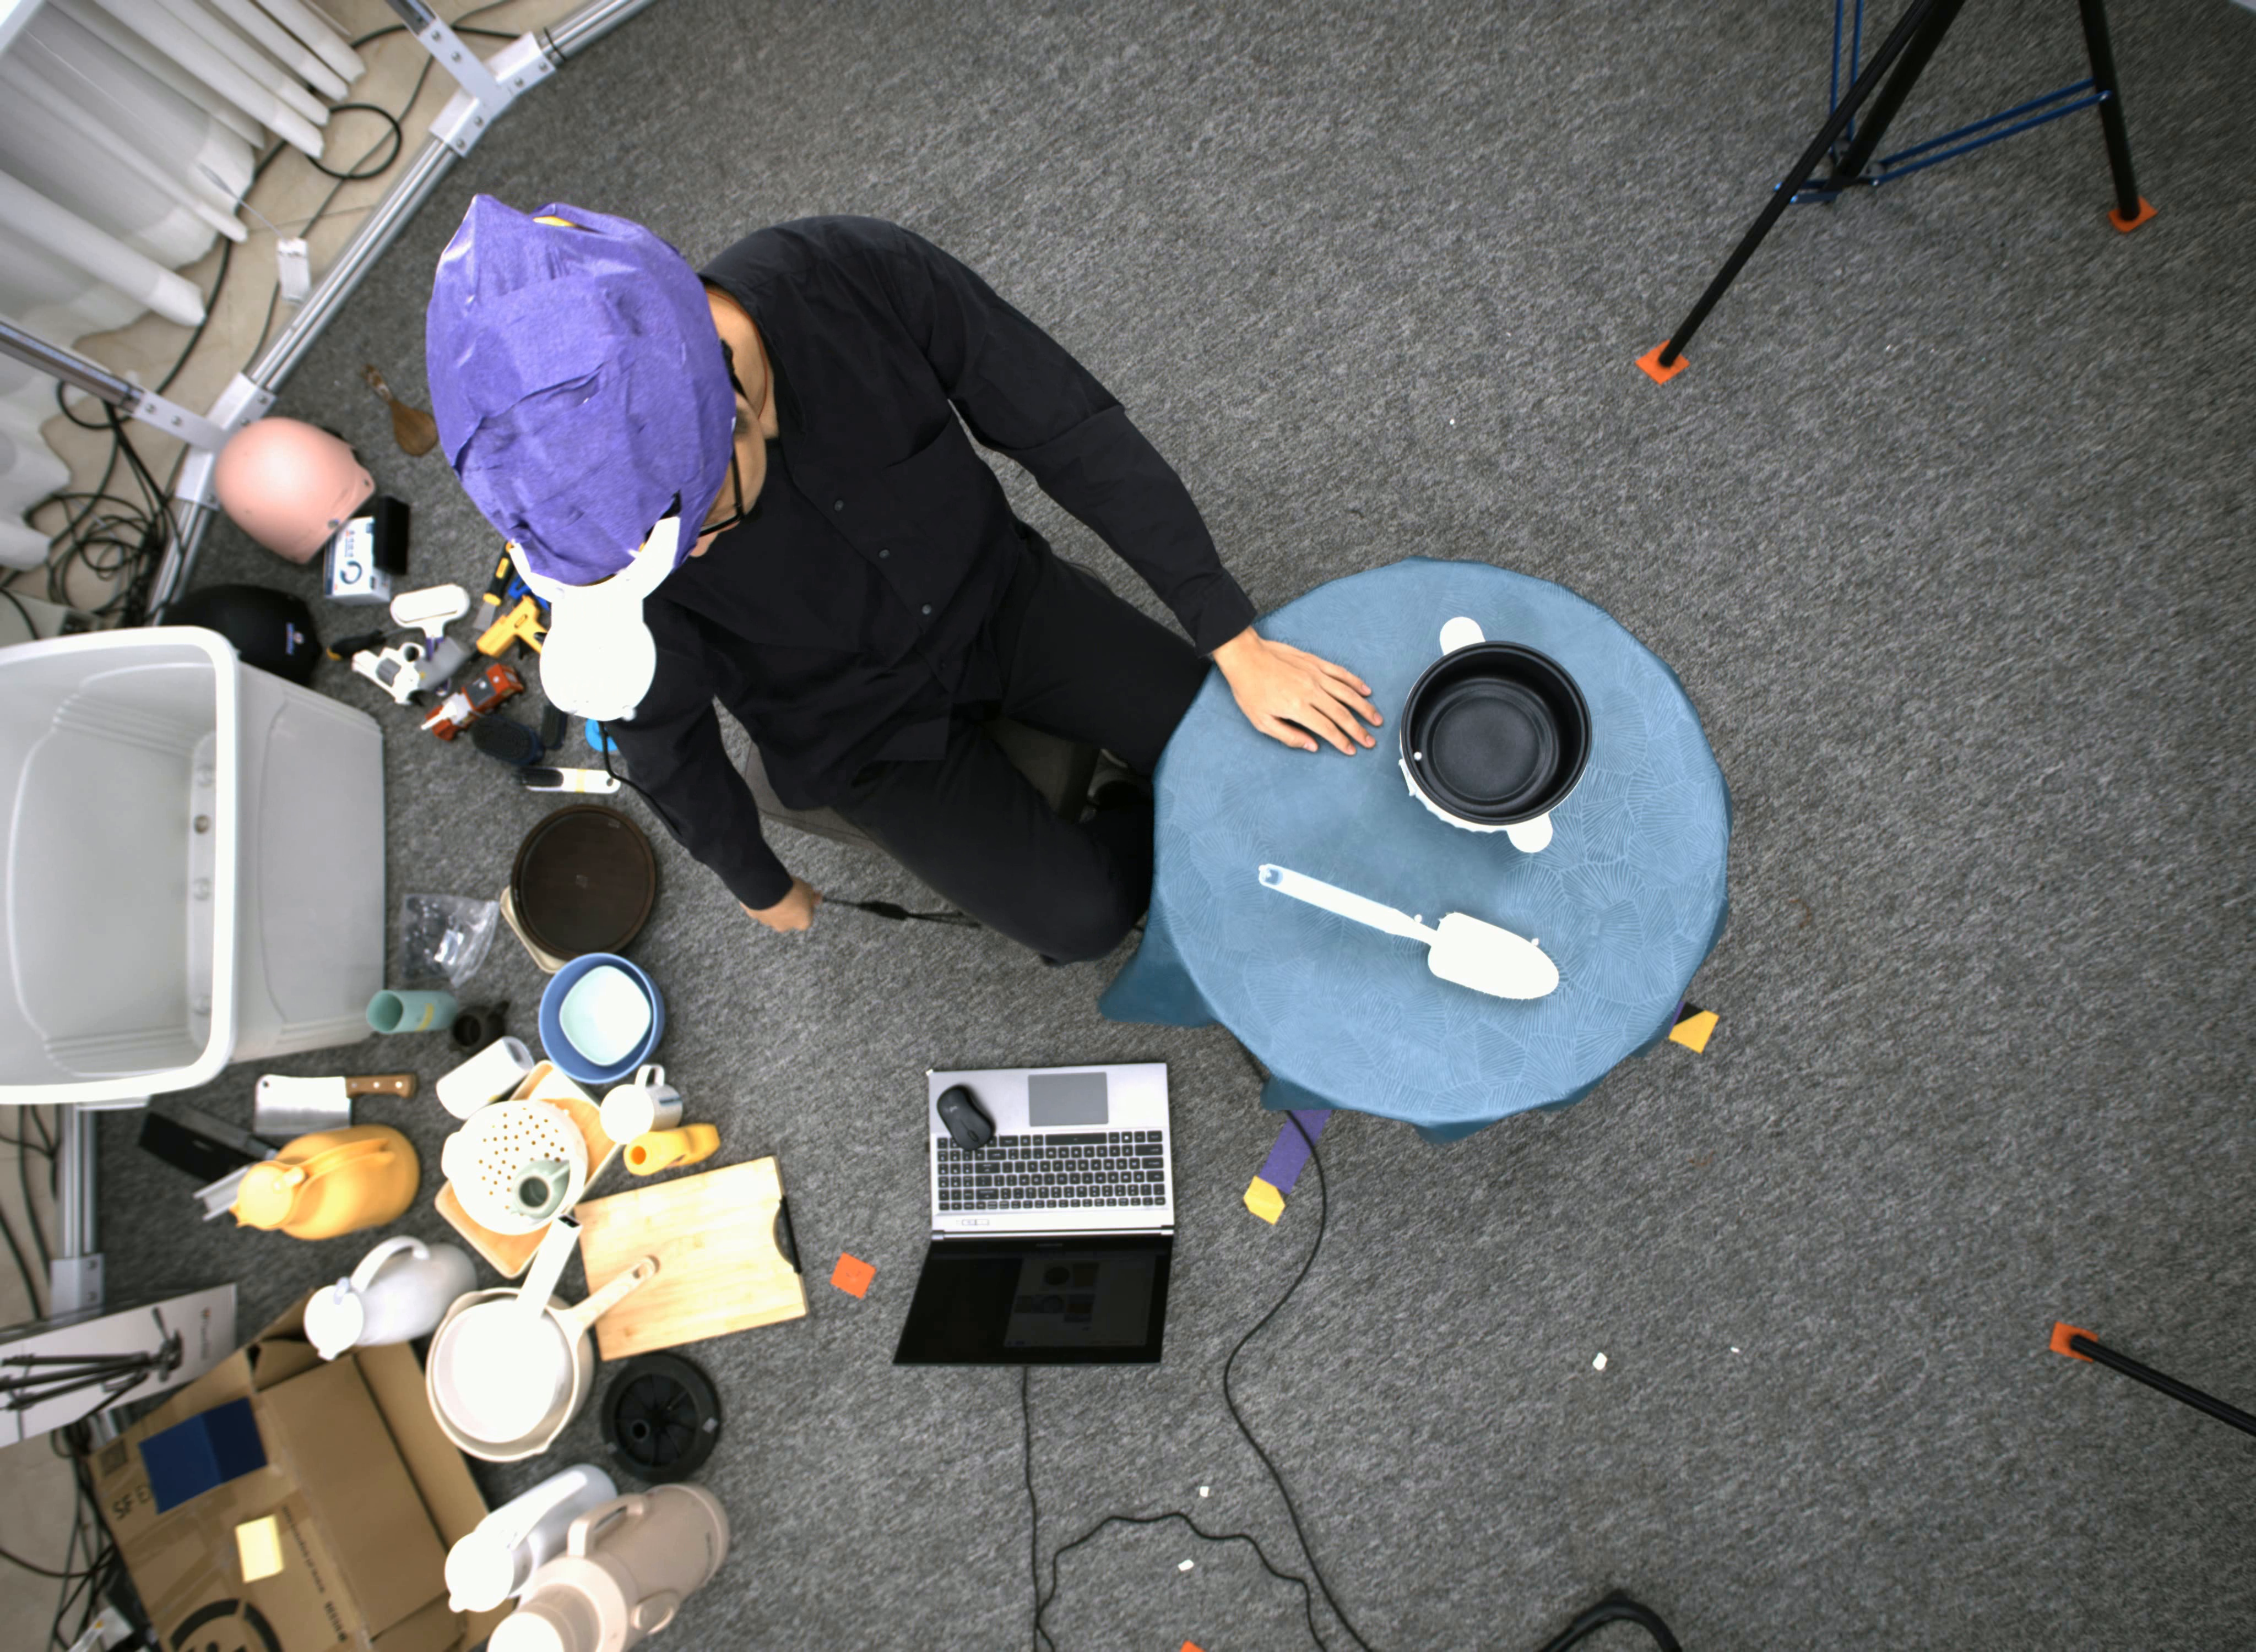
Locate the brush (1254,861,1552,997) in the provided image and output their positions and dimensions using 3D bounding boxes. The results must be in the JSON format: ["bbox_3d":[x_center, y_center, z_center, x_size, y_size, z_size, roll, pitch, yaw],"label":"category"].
[{"bbox_3d":[0.279,0.096,1.412,0.326,0.087,0.081,20,52,-1],"label":"brush"}]

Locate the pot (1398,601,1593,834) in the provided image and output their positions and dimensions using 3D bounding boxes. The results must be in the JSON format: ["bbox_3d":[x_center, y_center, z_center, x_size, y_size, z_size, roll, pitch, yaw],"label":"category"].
[{"bbox_3d":[0.367,-0.105,1.374,0.192,0.142,0.239,-20,84,10],"label":"pot"}]
